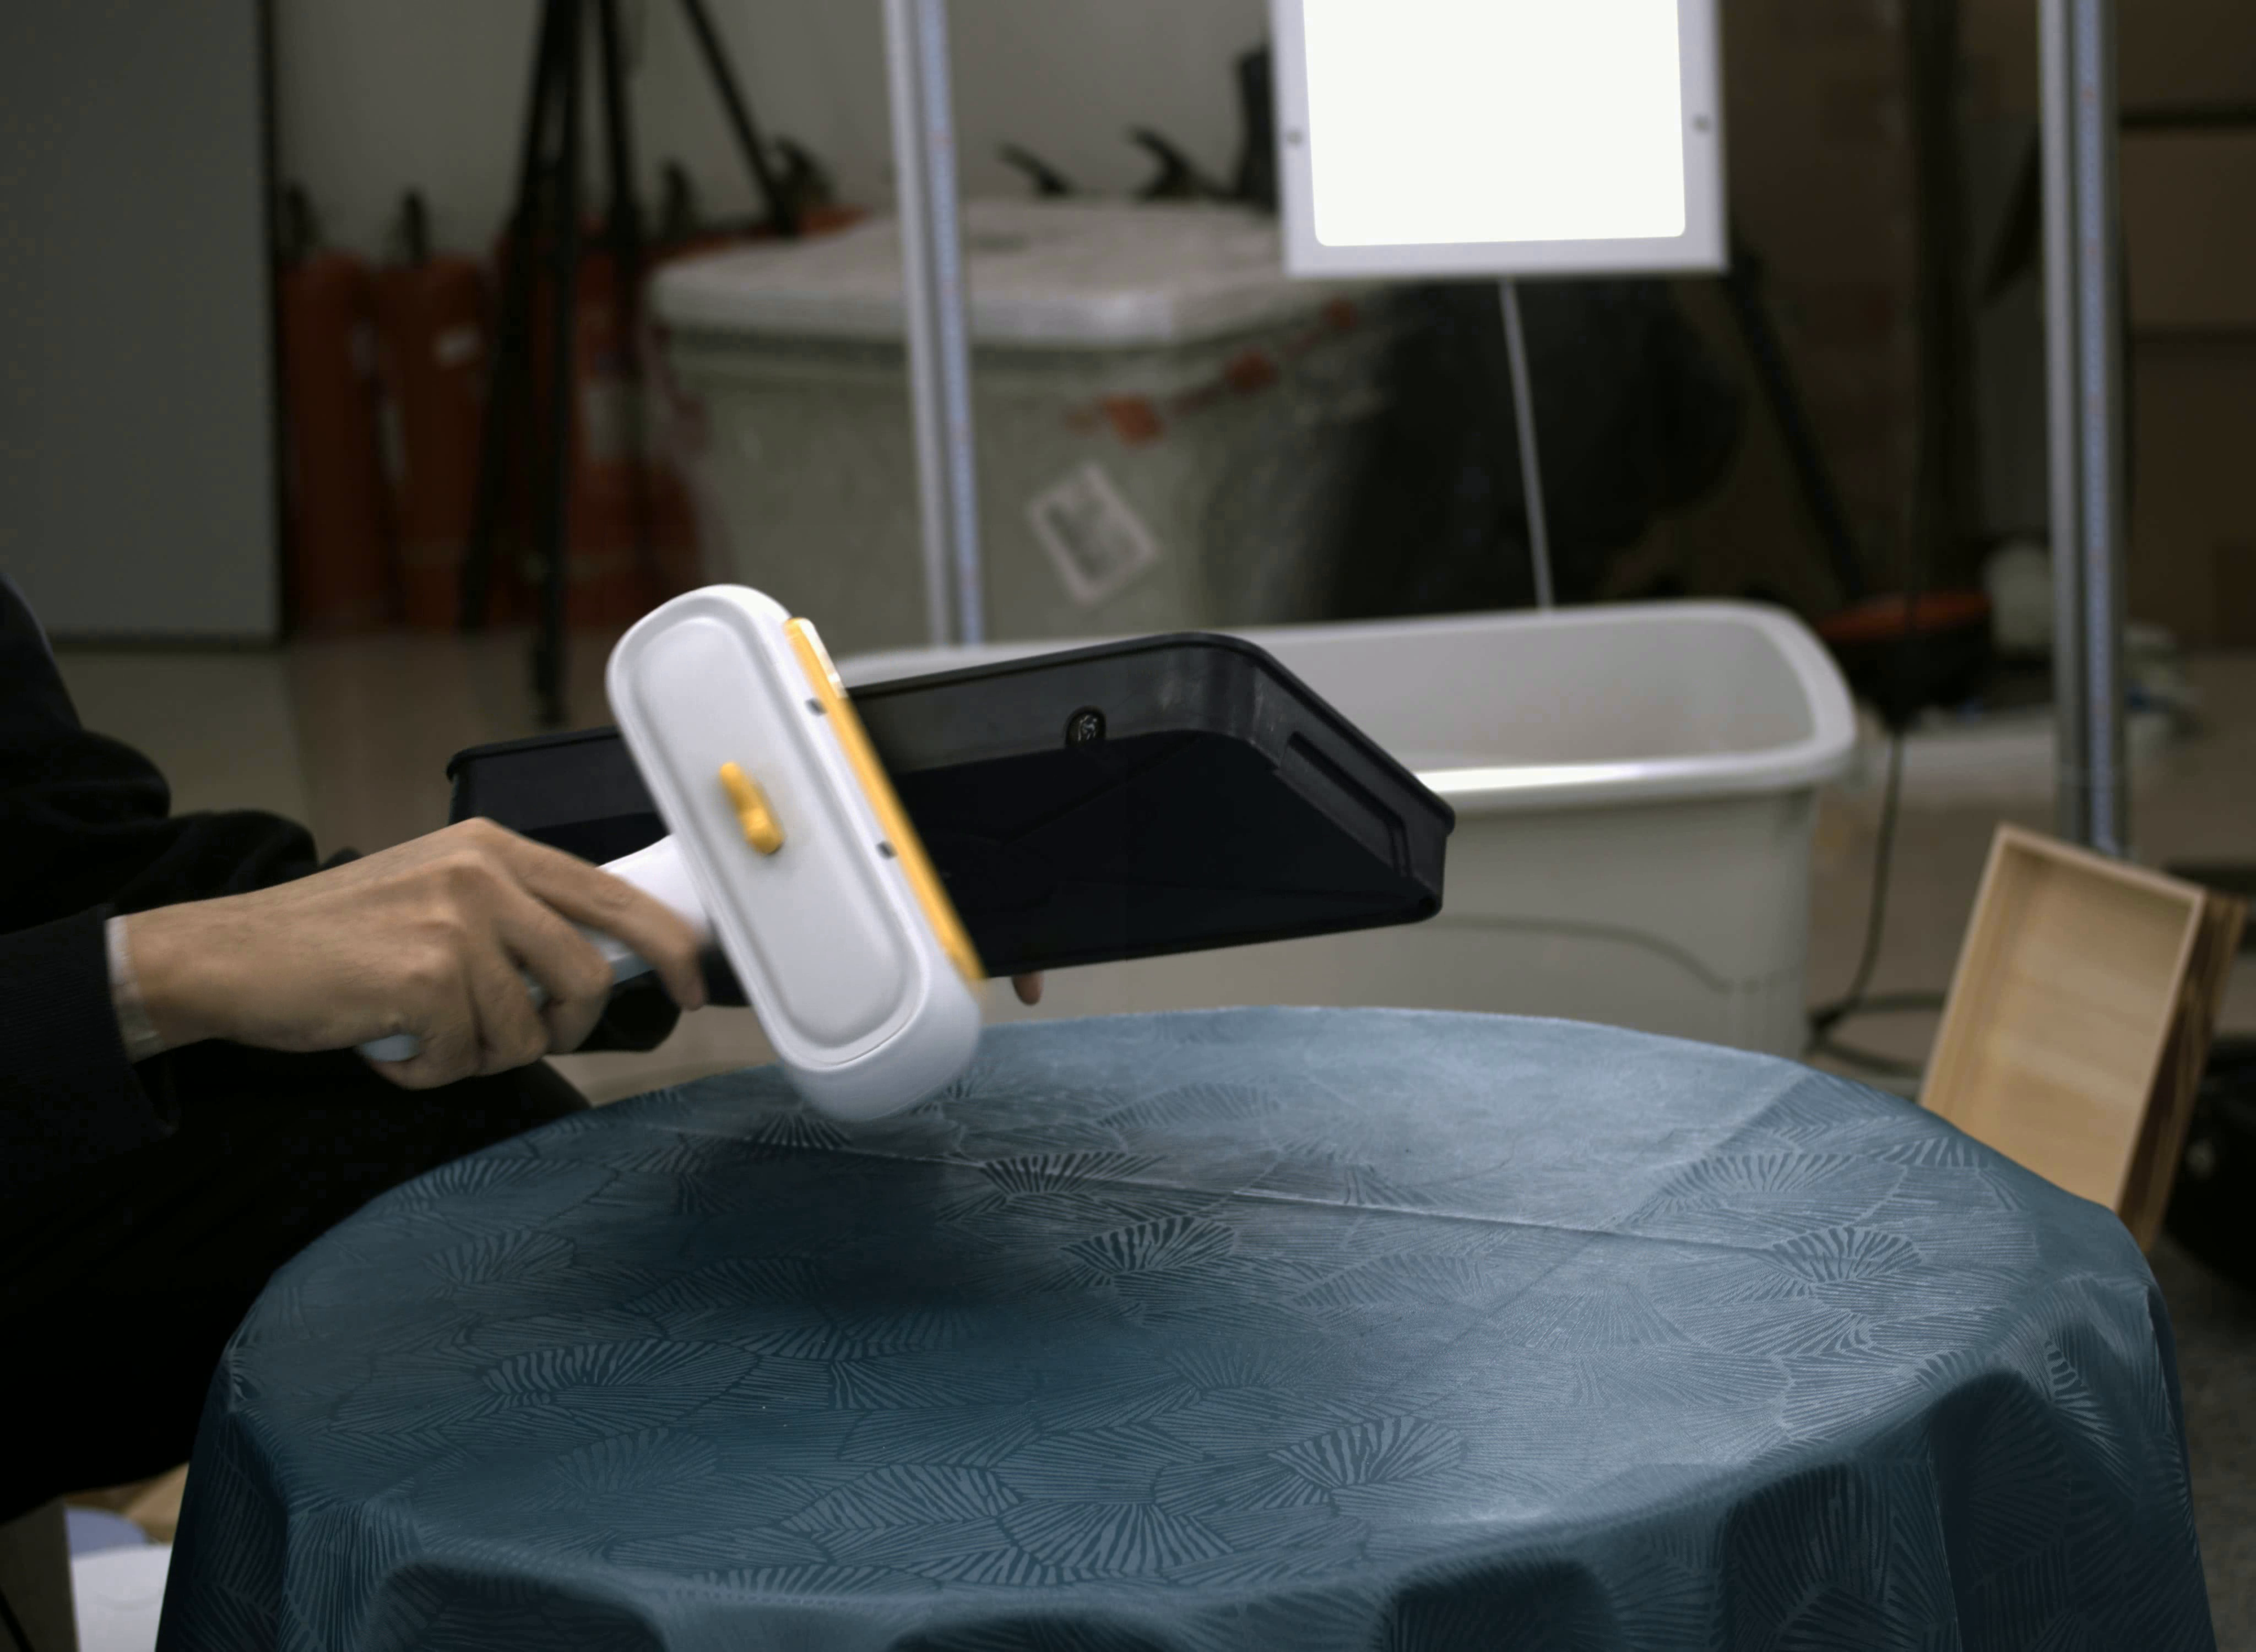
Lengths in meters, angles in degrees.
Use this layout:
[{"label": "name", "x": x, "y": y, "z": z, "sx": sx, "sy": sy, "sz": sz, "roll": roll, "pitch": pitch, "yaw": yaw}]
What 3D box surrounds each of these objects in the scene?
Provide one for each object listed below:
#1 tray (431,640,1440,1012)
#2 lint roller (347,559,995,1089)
[{"label": "tray", "x": -0.068, "y": 0.005, "z": 1.889, "sx": 0.324, "sy": 0.037, "sz": 0.181, "roll": -7, "pitch": -25, "yaw": 29}, {"label": "lint roller", "x": -0.159, "y": 0.026, "z": 1.769, "sx": 0.192, "sy": 0.194, "sz": 0.074, "roll": -31, "pitch": -22, "yaw": -1}]
